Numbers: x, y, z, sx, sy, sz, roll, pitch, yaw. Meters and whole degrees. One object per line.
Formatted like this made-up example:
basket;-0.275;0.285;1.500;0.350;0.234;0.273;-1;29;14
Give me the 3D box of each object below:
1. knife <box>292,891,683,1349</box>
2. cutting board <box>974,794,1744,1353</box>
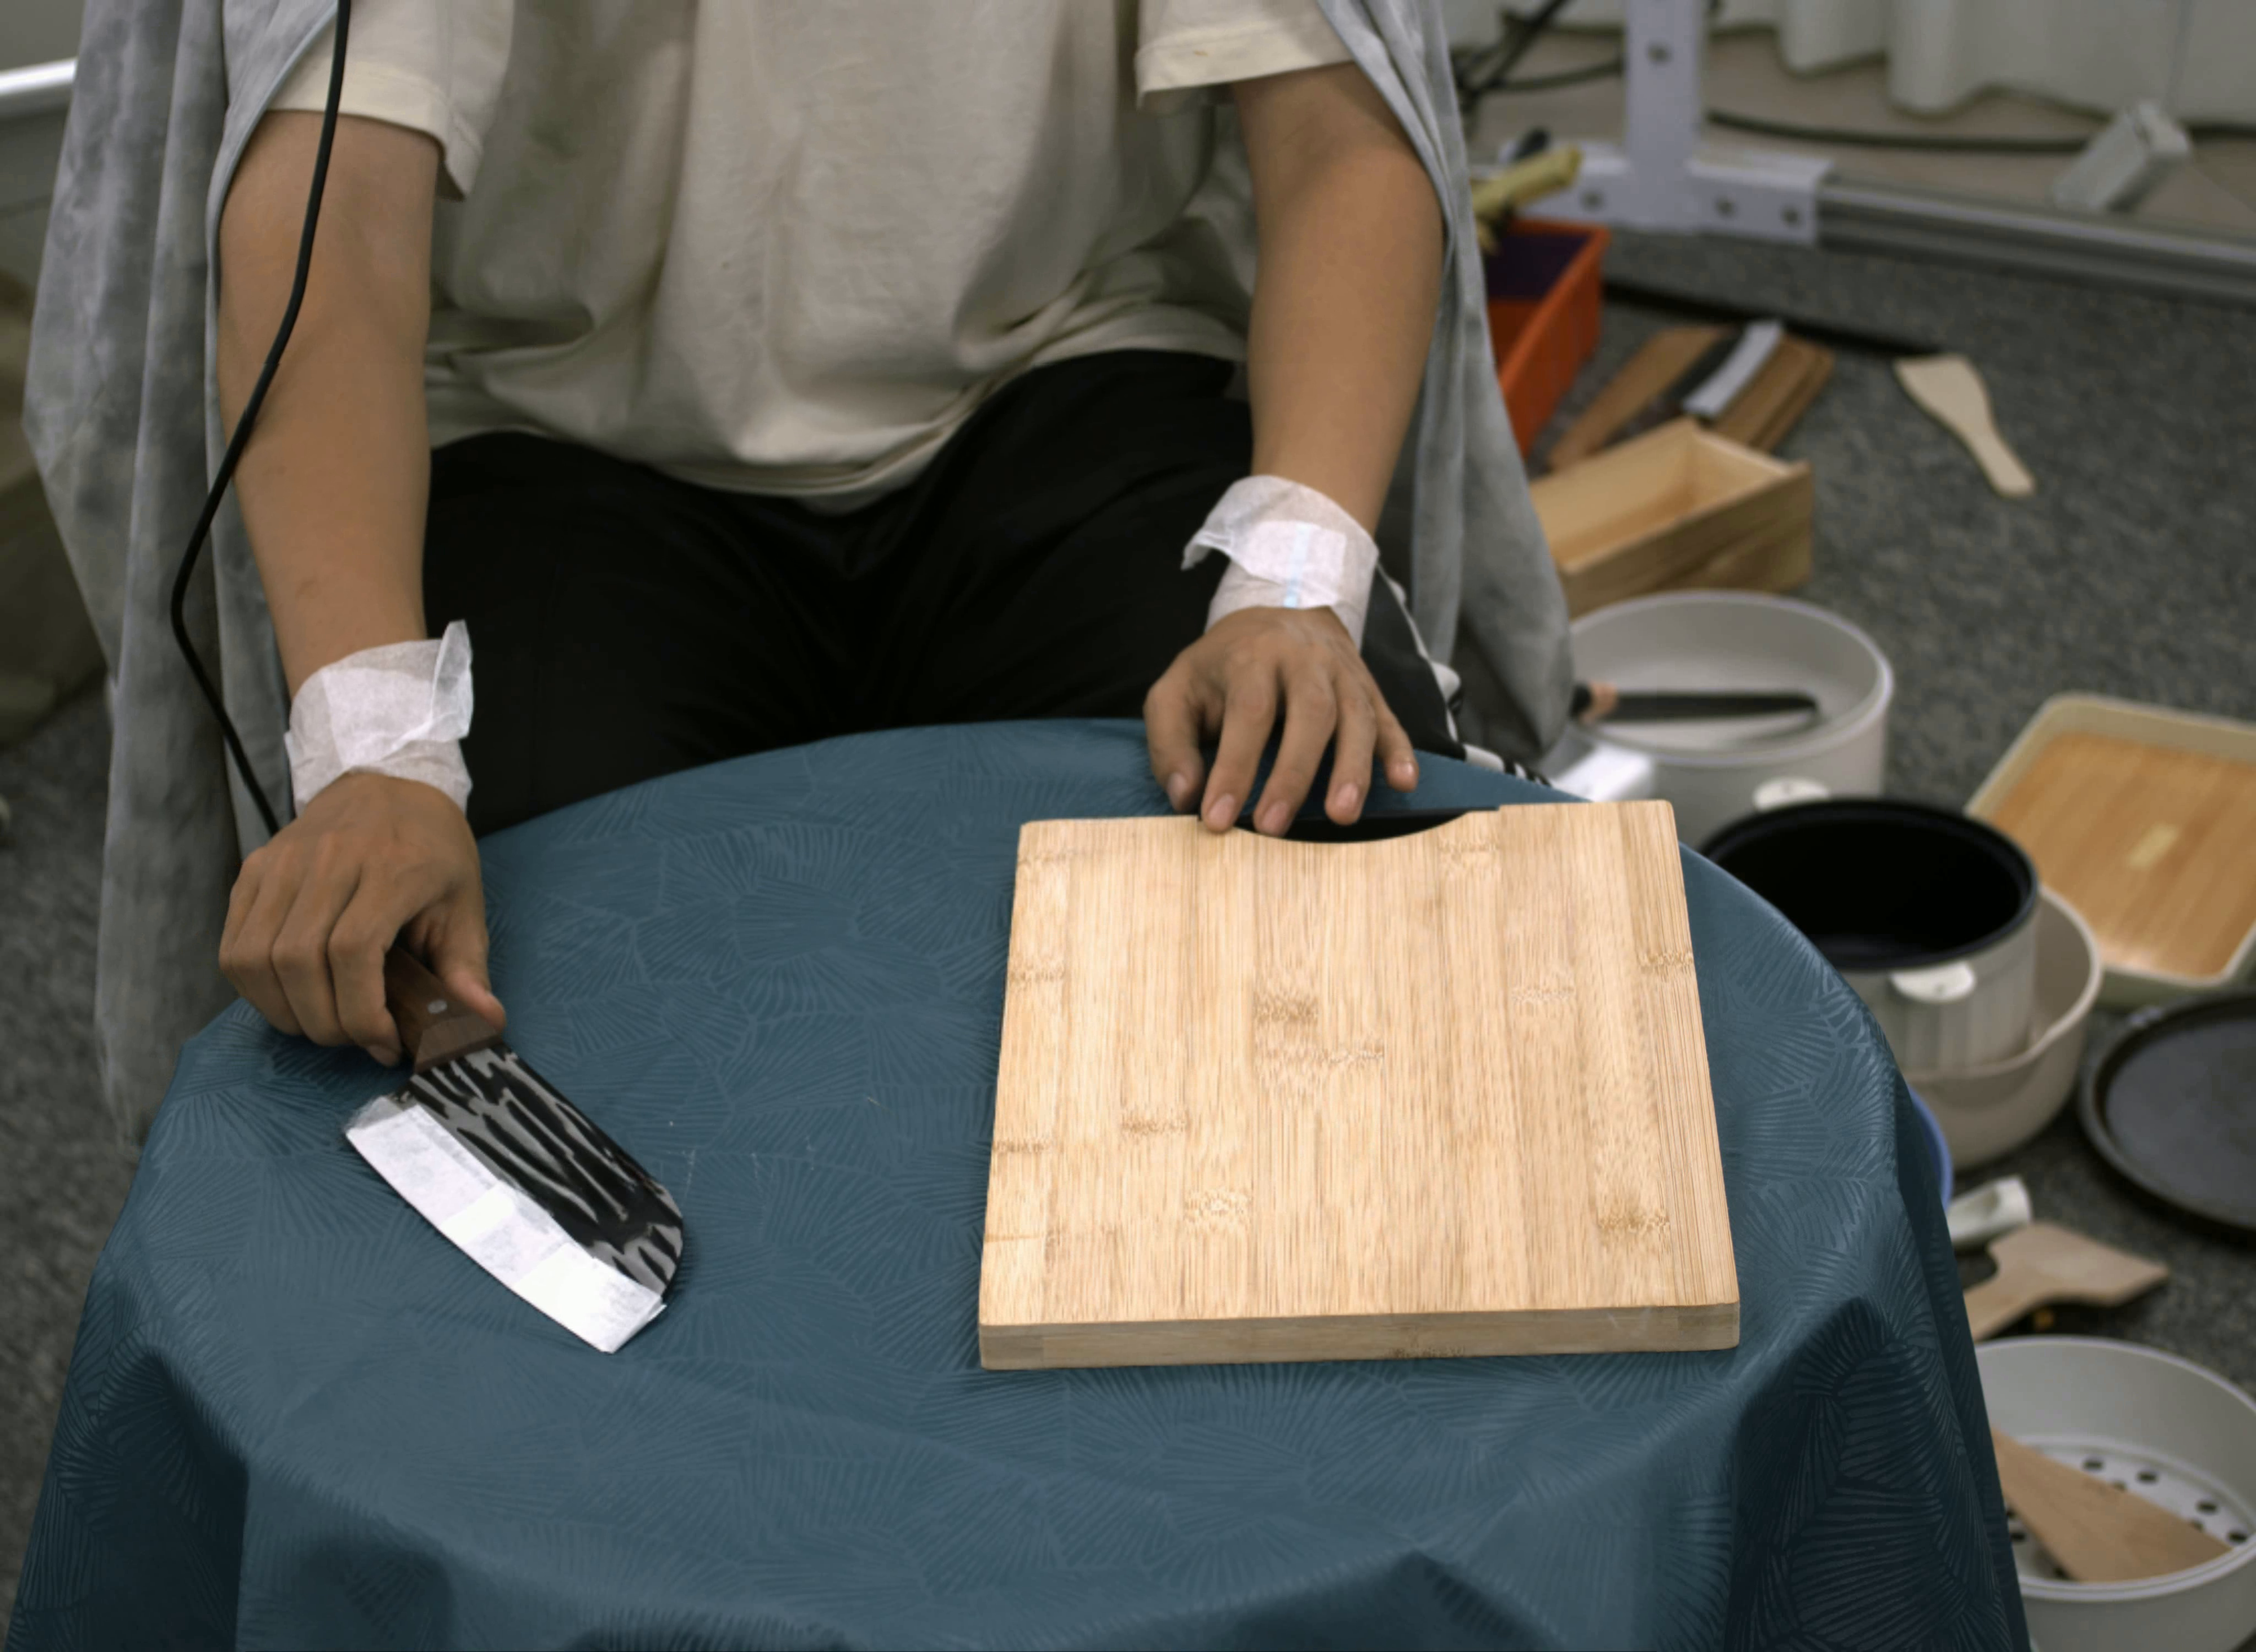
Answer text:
knife;-0.228;0.099;1.906;0.068;0.023;0.301;-24;36;-24
cutting board;0.077;0.080;1.916;0.249;0.023;0.354;-2;27;1
